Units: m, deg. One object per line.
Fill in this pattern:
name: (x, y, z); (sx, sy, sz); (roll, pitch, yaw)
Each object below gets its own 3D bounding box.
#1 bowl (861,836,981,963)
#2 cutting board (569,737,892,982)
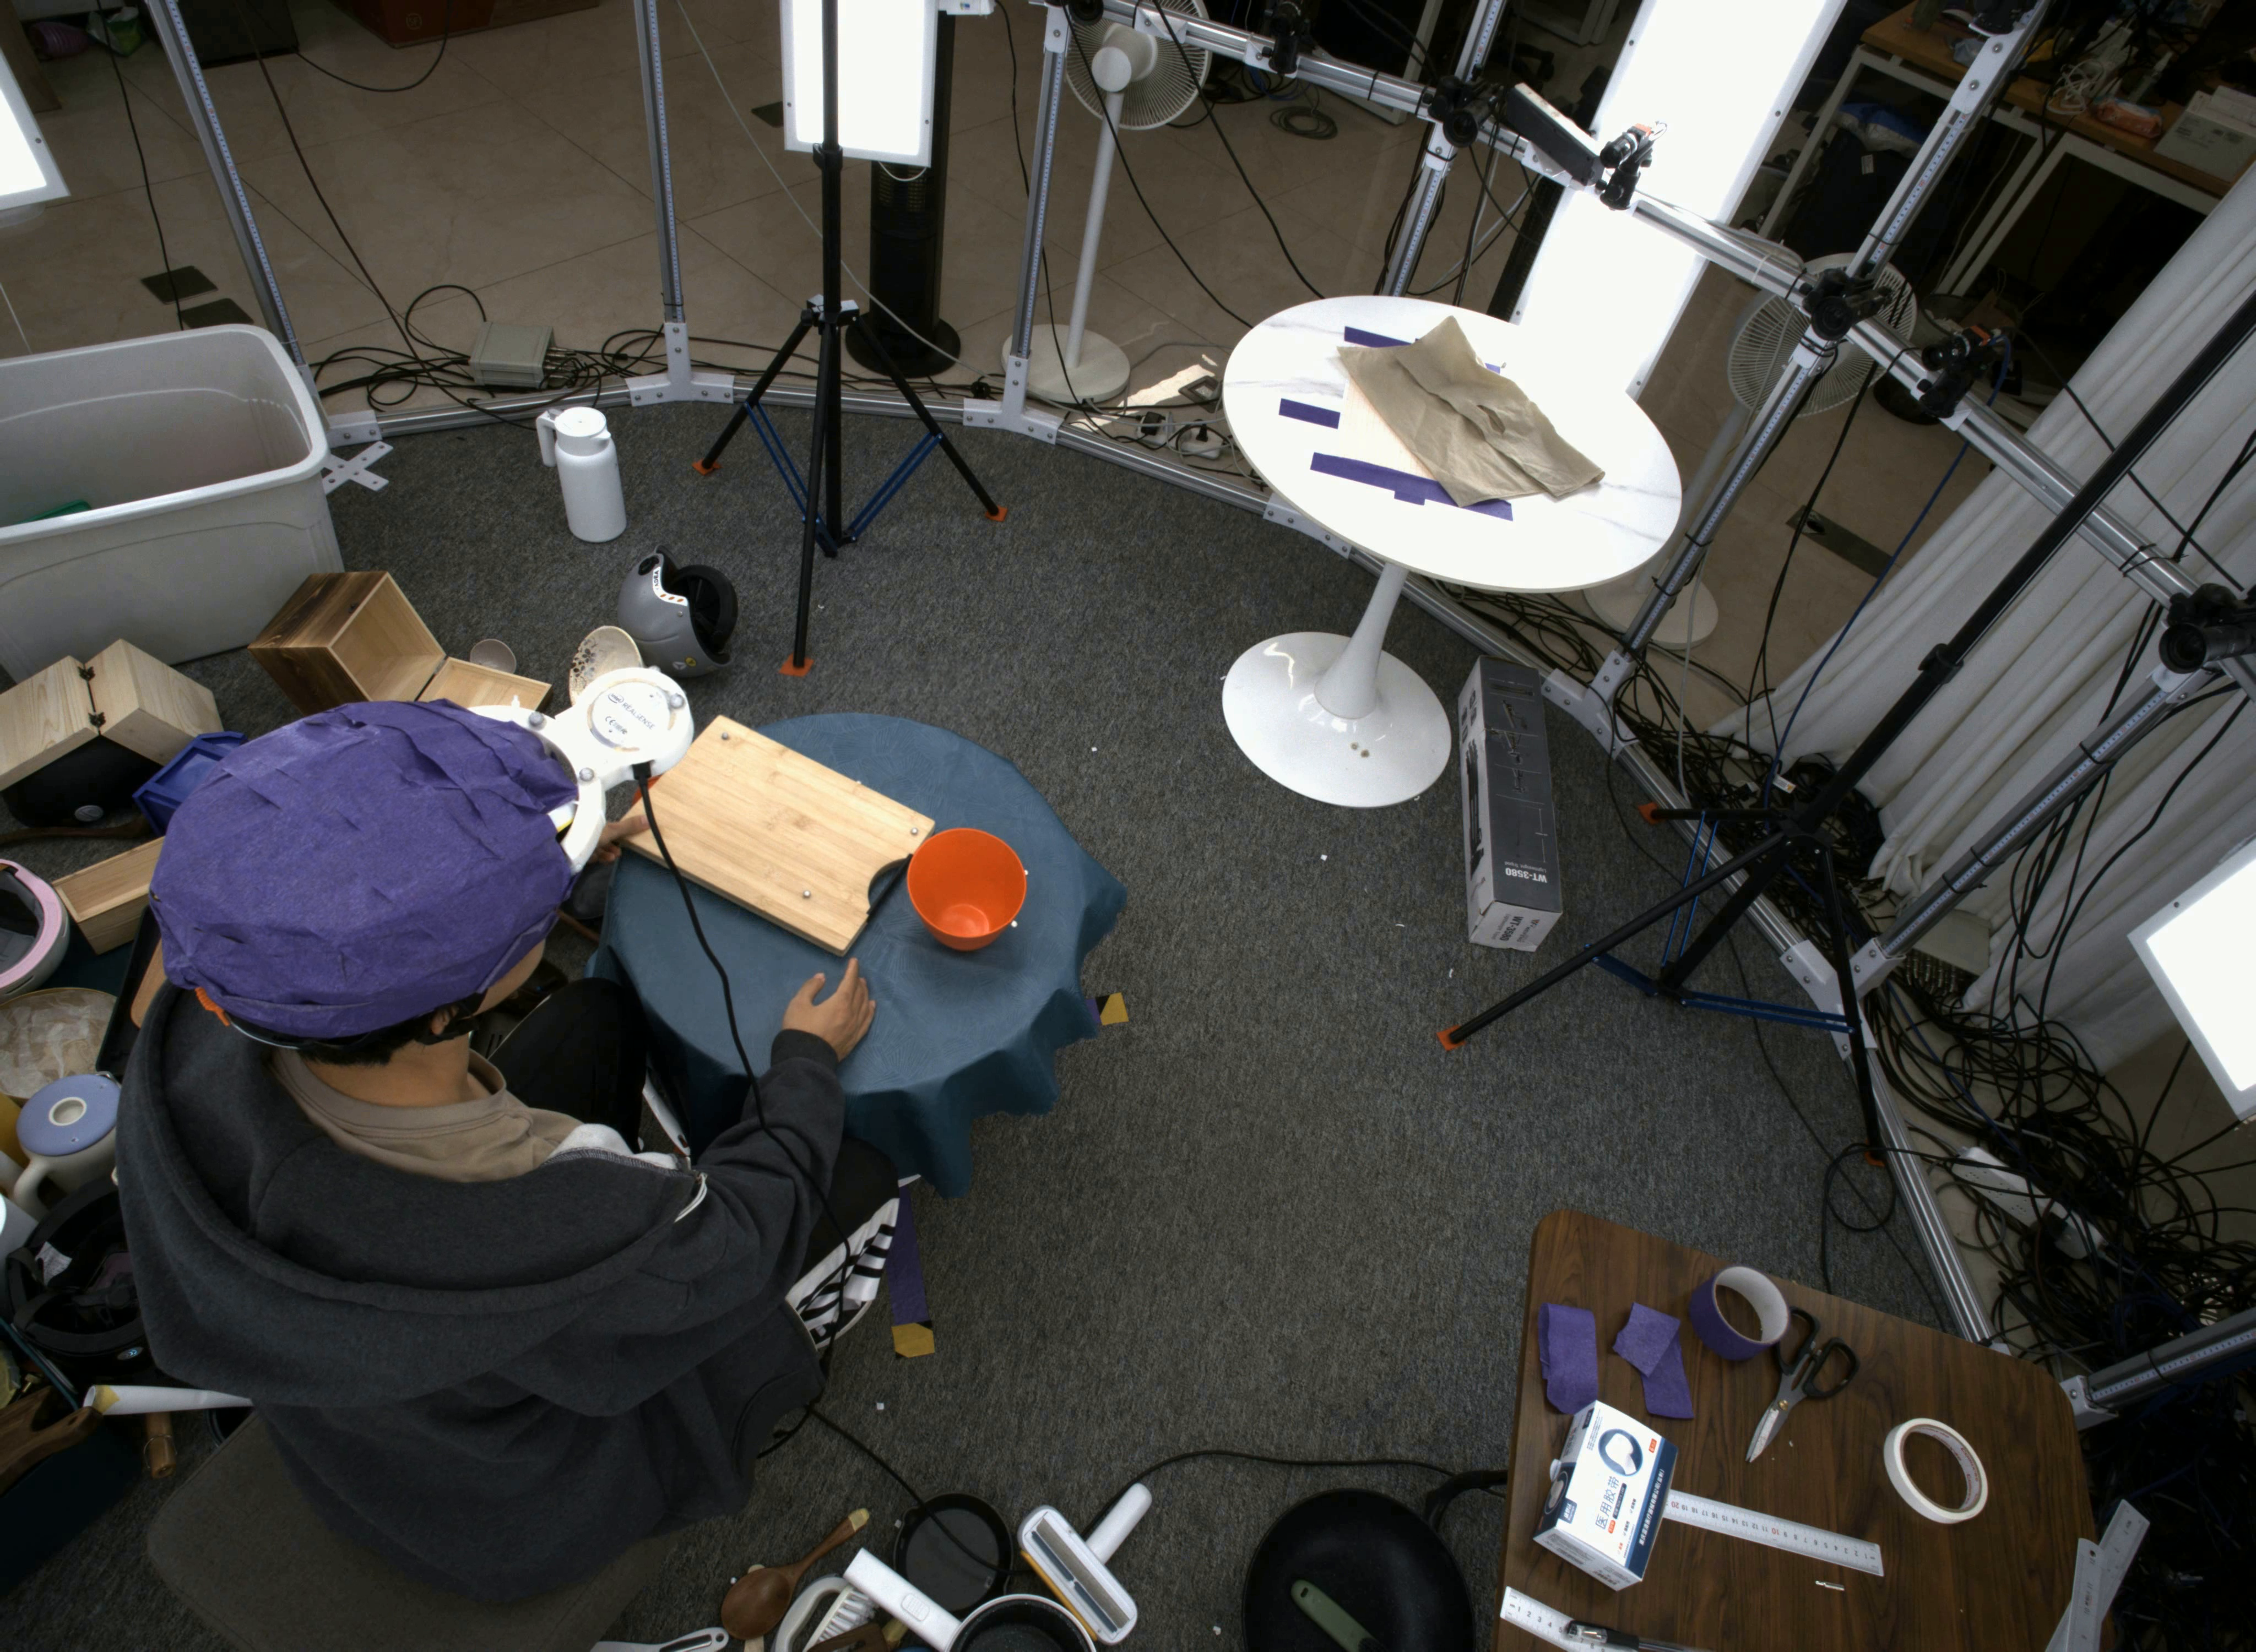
bowl: (-0.260, 0.103, 1.629); (0.148, 0.107, 0.145); (8, 51, -9)
cutting board: (-0.511, 0.033, 1.663); (0.345, 0.024, 0.248); (23, 52, 1)
